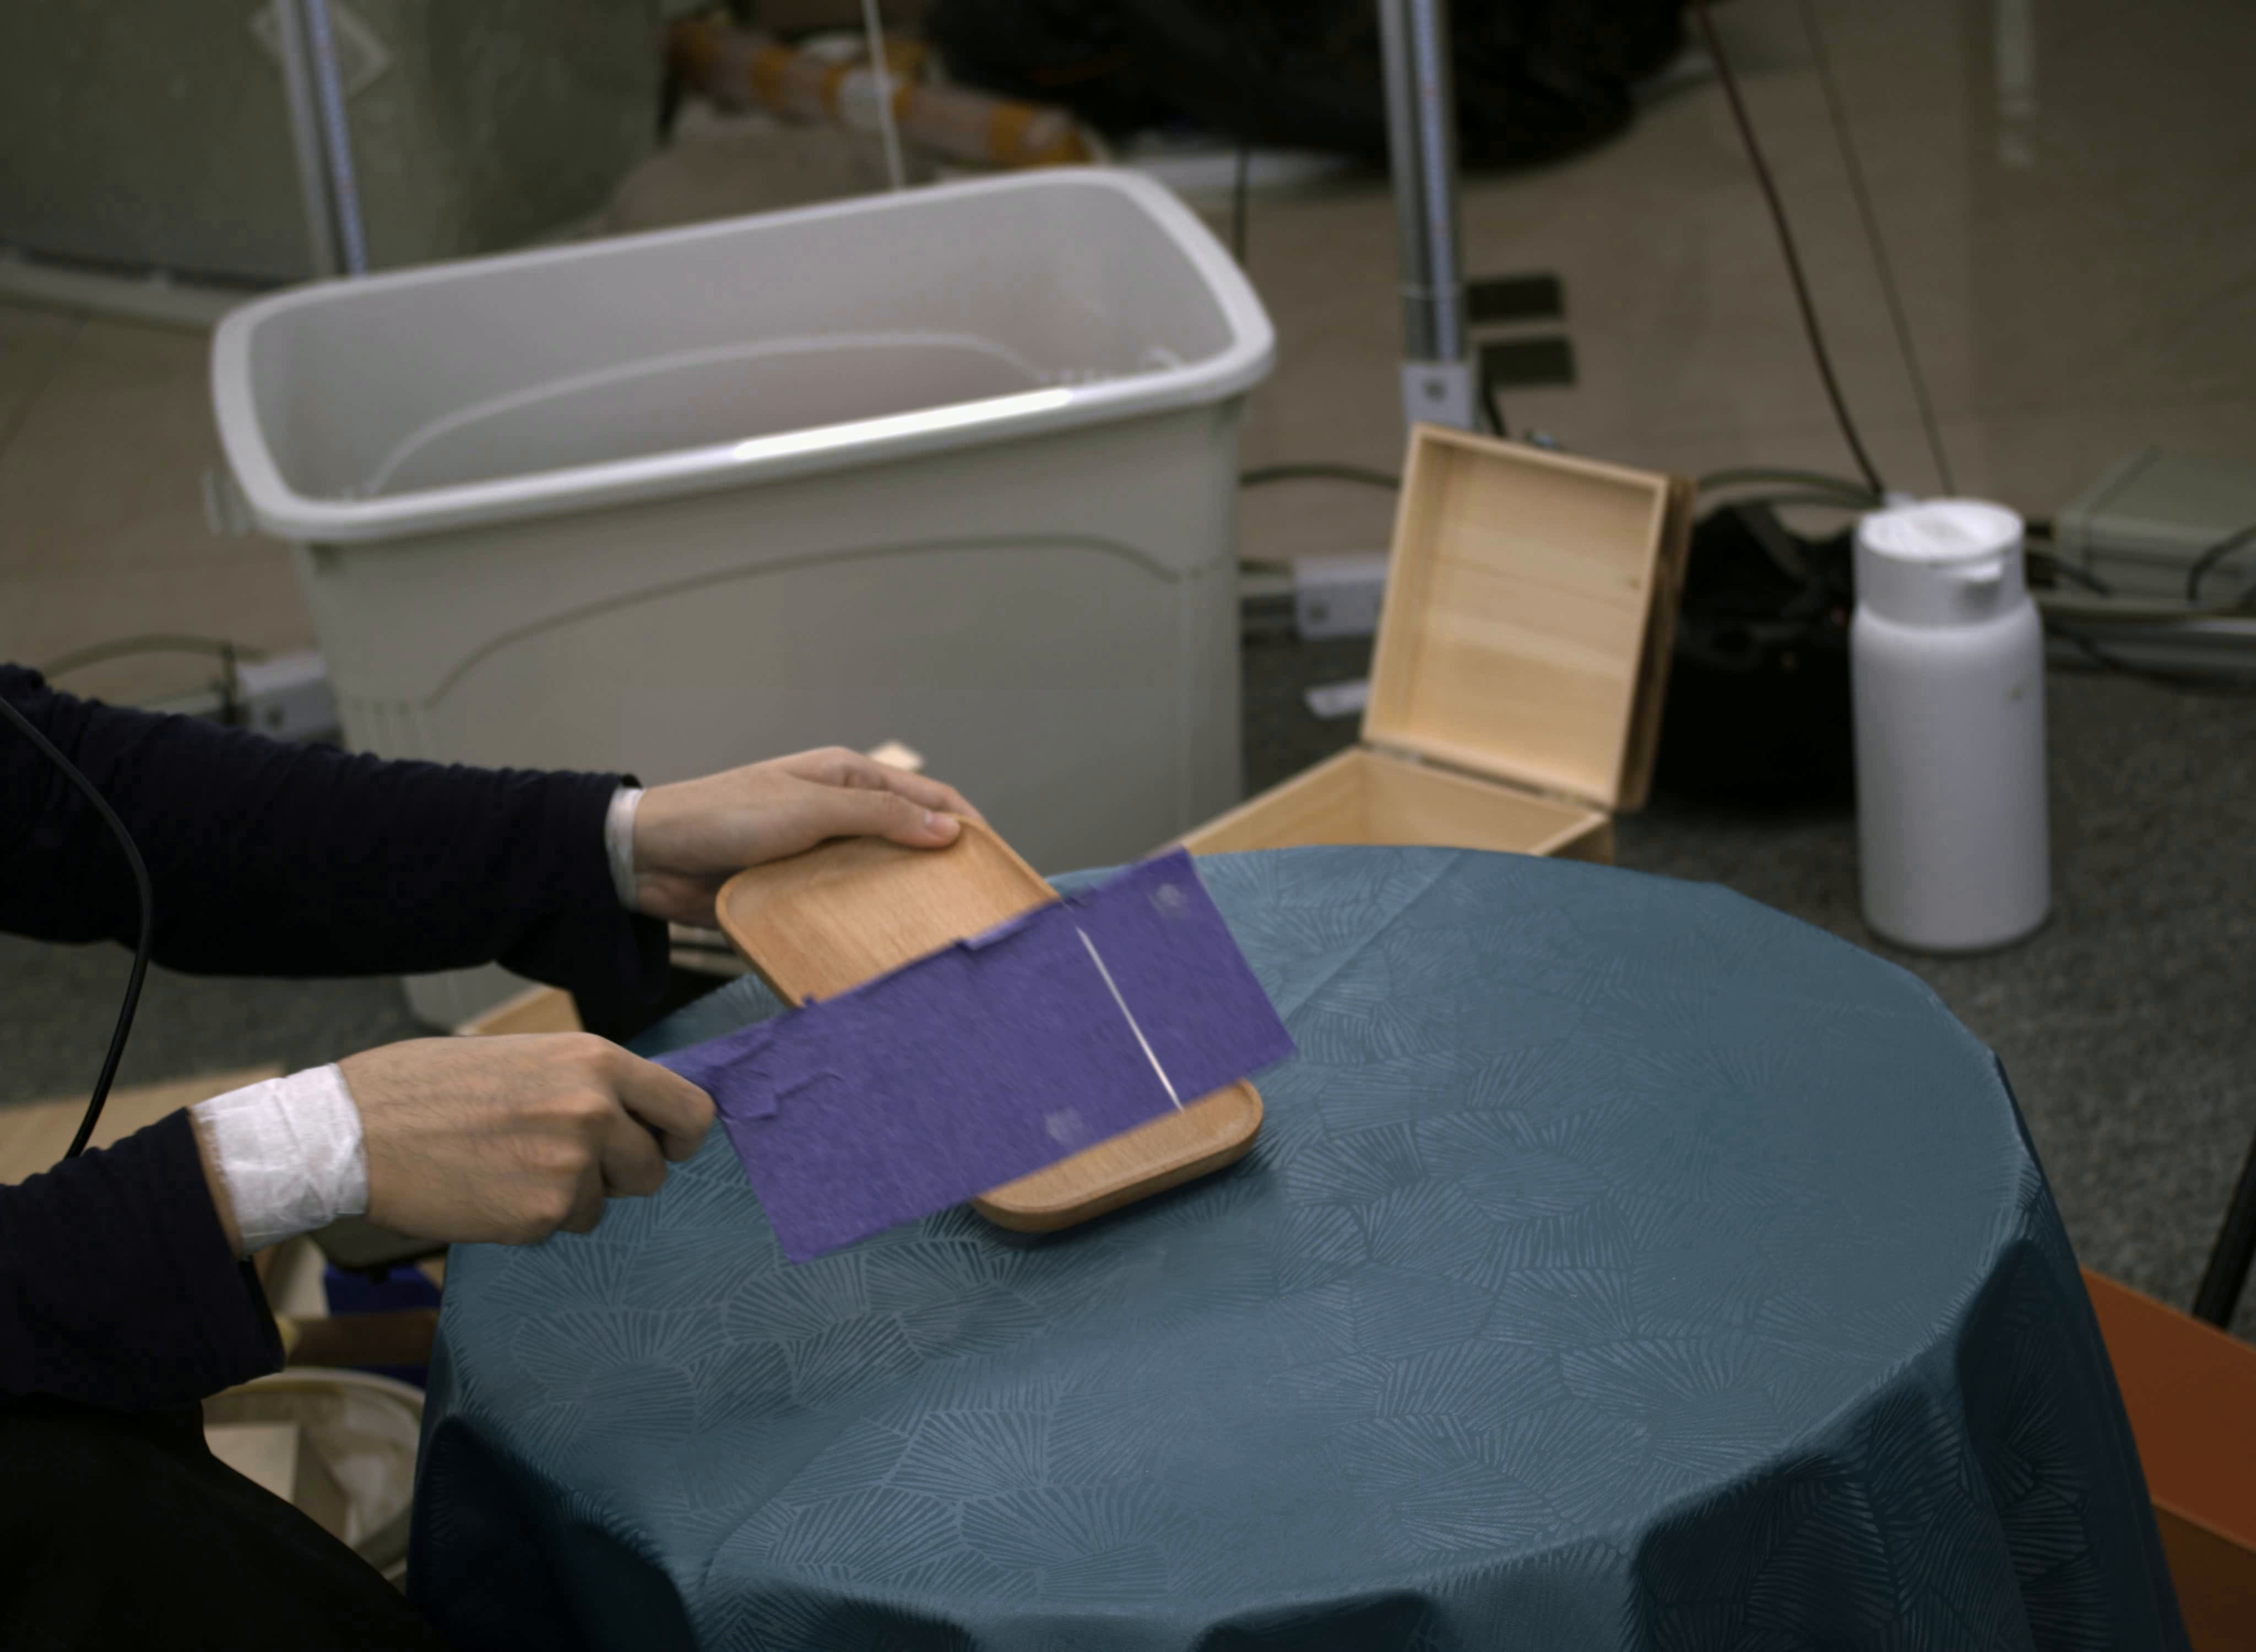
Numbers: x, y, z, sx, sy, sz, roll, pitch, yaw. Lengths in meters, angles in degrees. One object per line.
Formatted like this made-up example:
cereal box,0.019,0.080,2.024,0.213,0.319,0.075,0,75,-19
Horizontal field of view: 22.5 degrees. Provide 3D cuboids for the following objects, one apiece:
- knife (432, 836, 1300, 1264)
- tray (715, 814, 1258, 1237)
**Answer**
knife,-0.089,0.100,2.037,0.314,0.032,0.103,-22,72,-15
tray,-0.058,0.076,2.220,0.130,0.023,0.247,-20,42,-23
